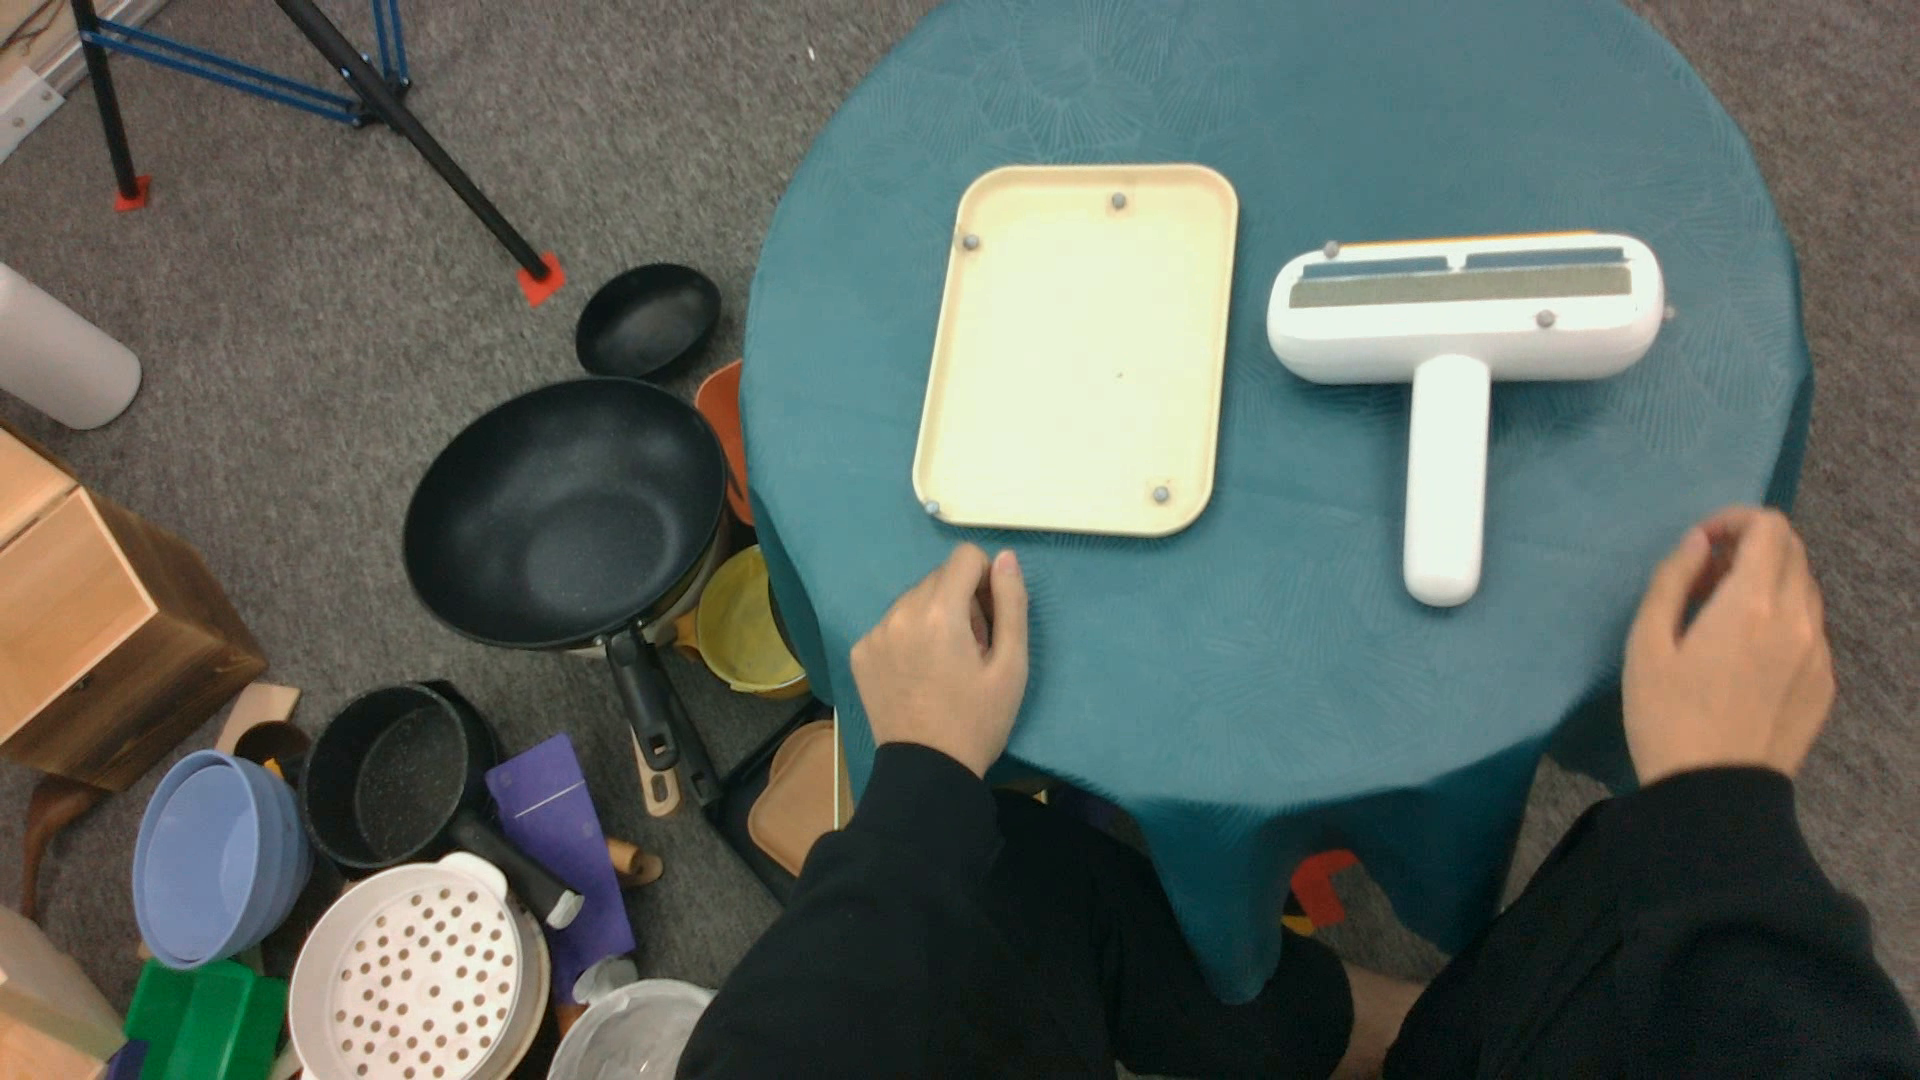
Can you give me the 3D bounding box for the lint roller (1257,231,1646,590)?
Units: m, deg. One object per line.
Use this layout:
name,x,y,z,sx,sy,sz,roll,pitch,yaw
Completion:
lint roller,0.244,-0.071,0.717,0.192,0.074,0.193,7,70,20

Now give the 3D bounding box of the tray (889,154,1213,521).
tray,0.055,-0.122,0.802,0.171,0.017,0.240,4,68,12
